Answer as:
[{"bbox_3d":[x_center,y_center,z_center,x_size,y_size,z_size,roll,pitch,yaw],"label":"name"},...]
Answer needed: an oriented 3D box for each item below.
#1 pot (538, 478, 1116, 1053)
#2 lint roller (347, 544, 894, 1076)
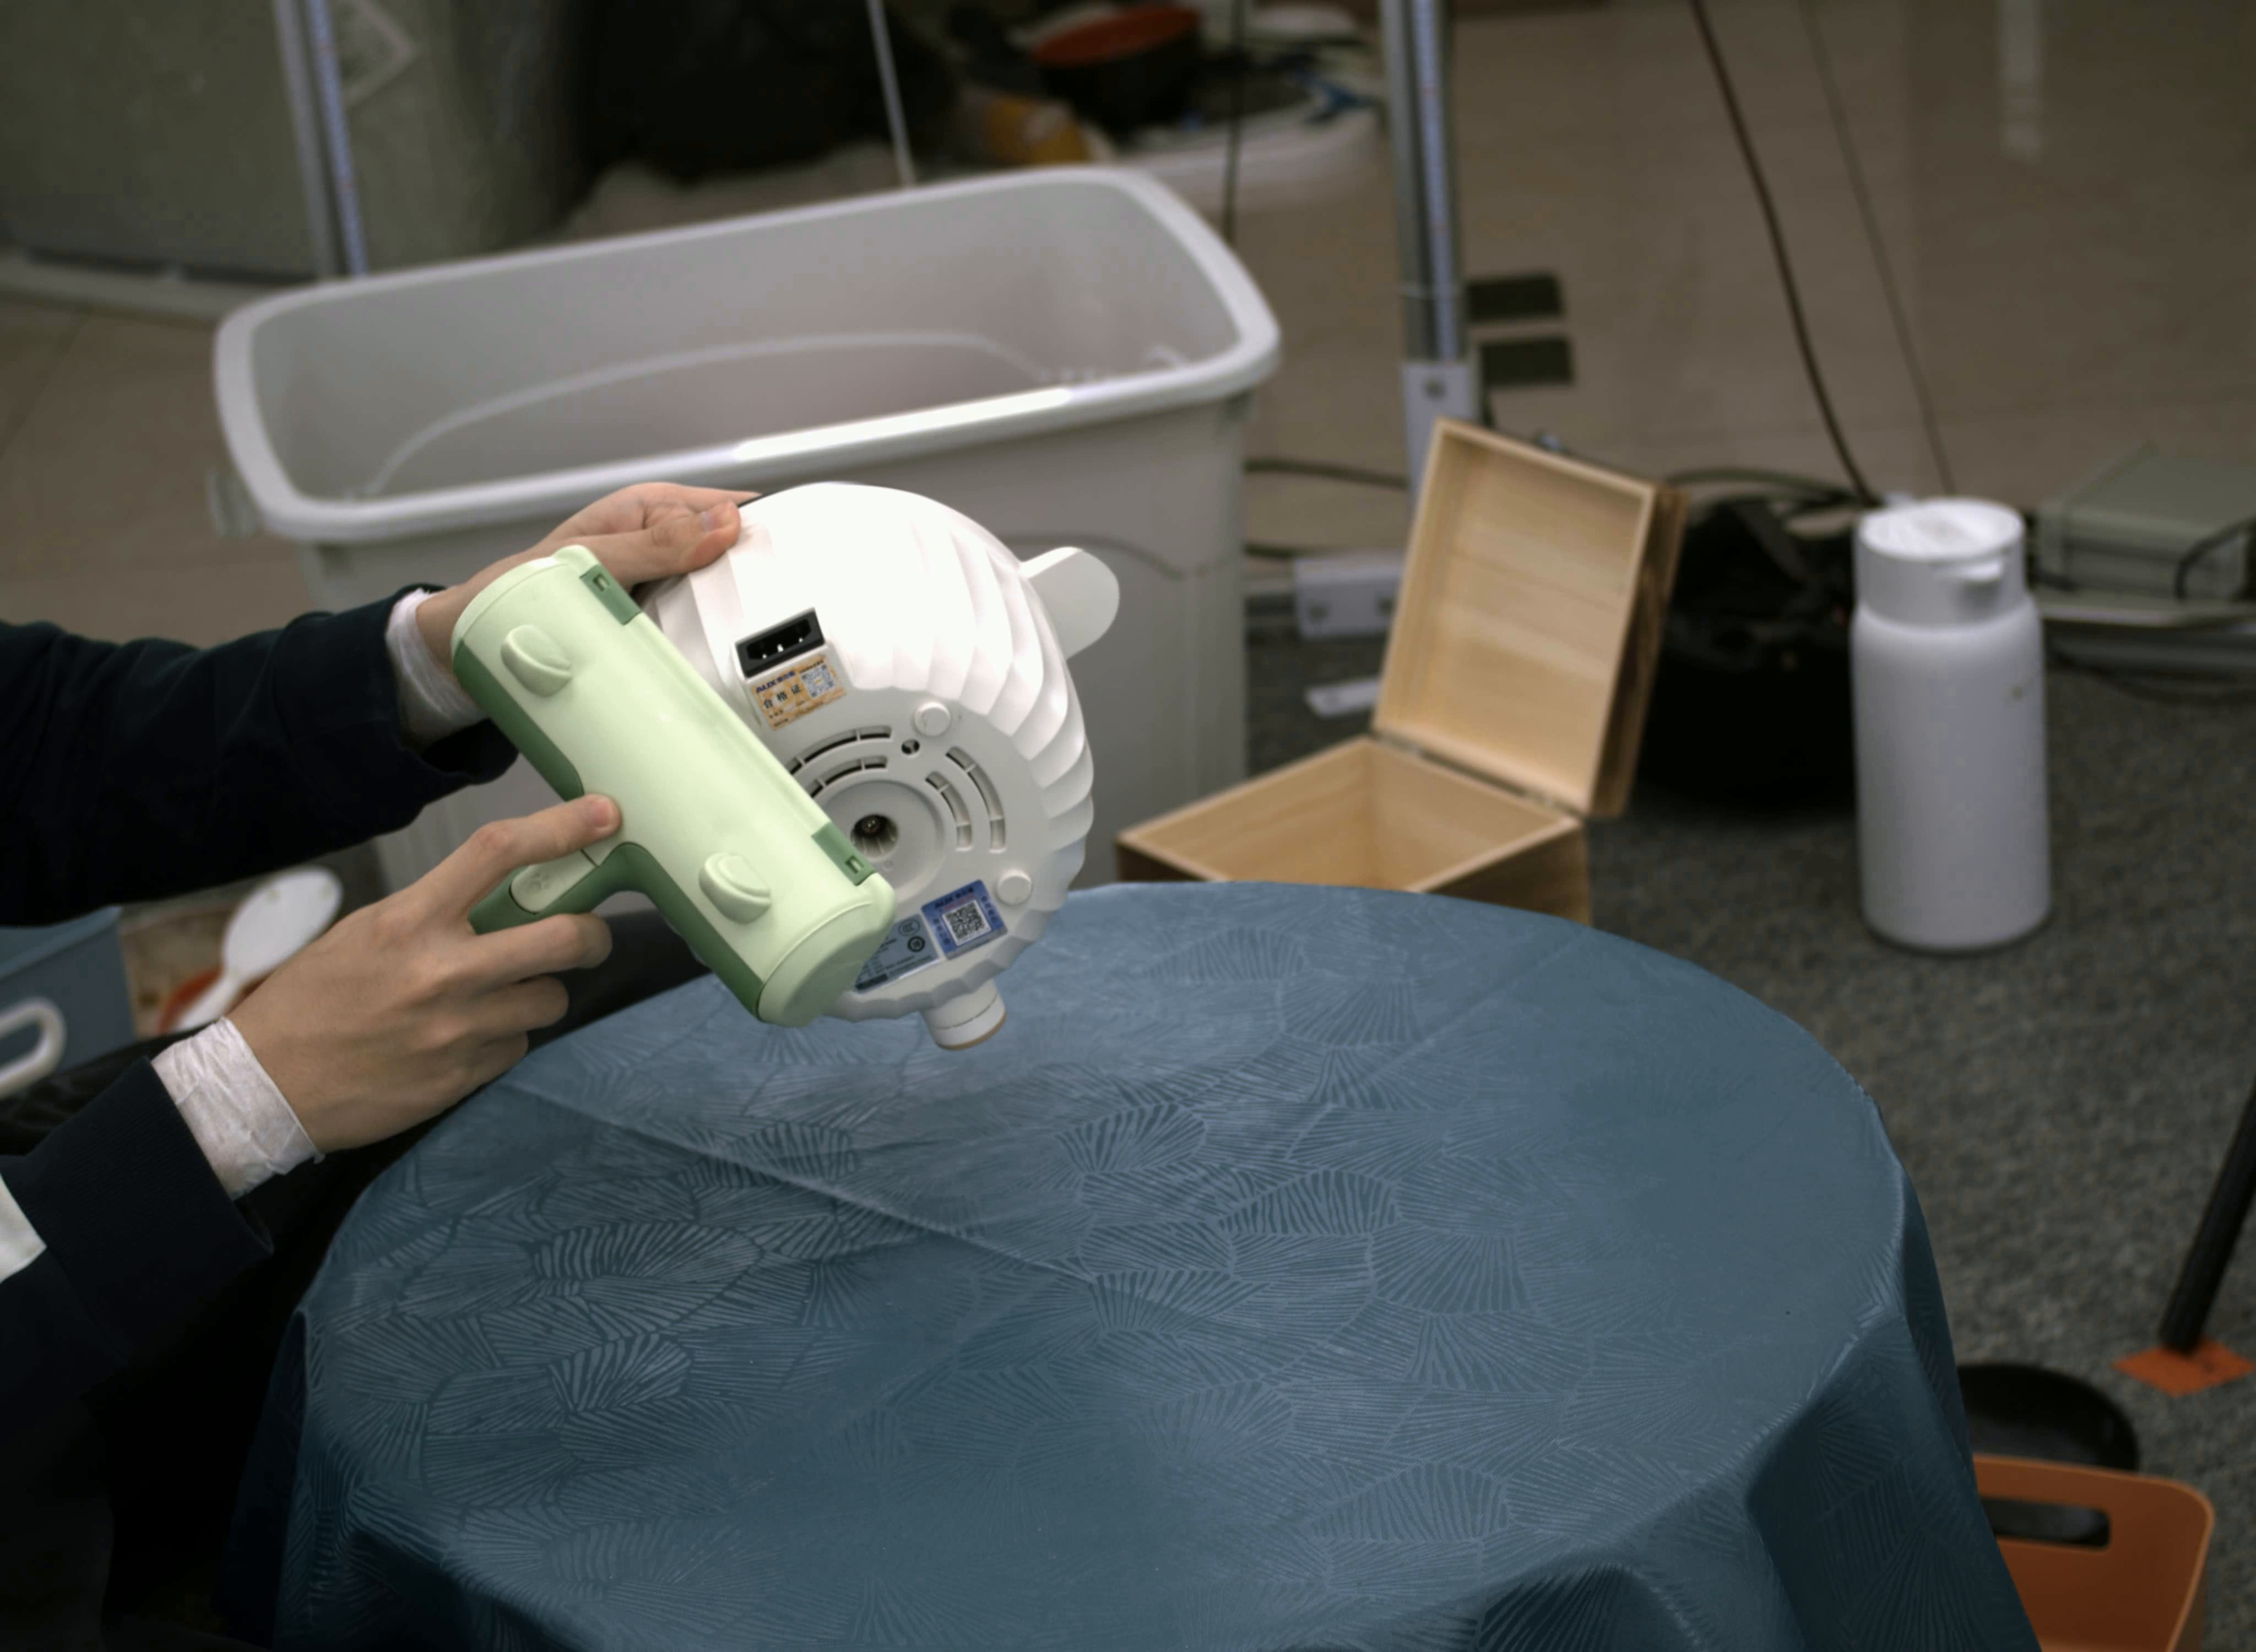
[{"bbox_3d":[-0.104,-0.017,2.136,0.240,0.194,0.140,-23,32,3],"label":"pot"},{"bbox_3d":[-0.210,0.018,2.017,0.182,0.083,0.197,-39,73,-9],"label":"lint roller"}]
